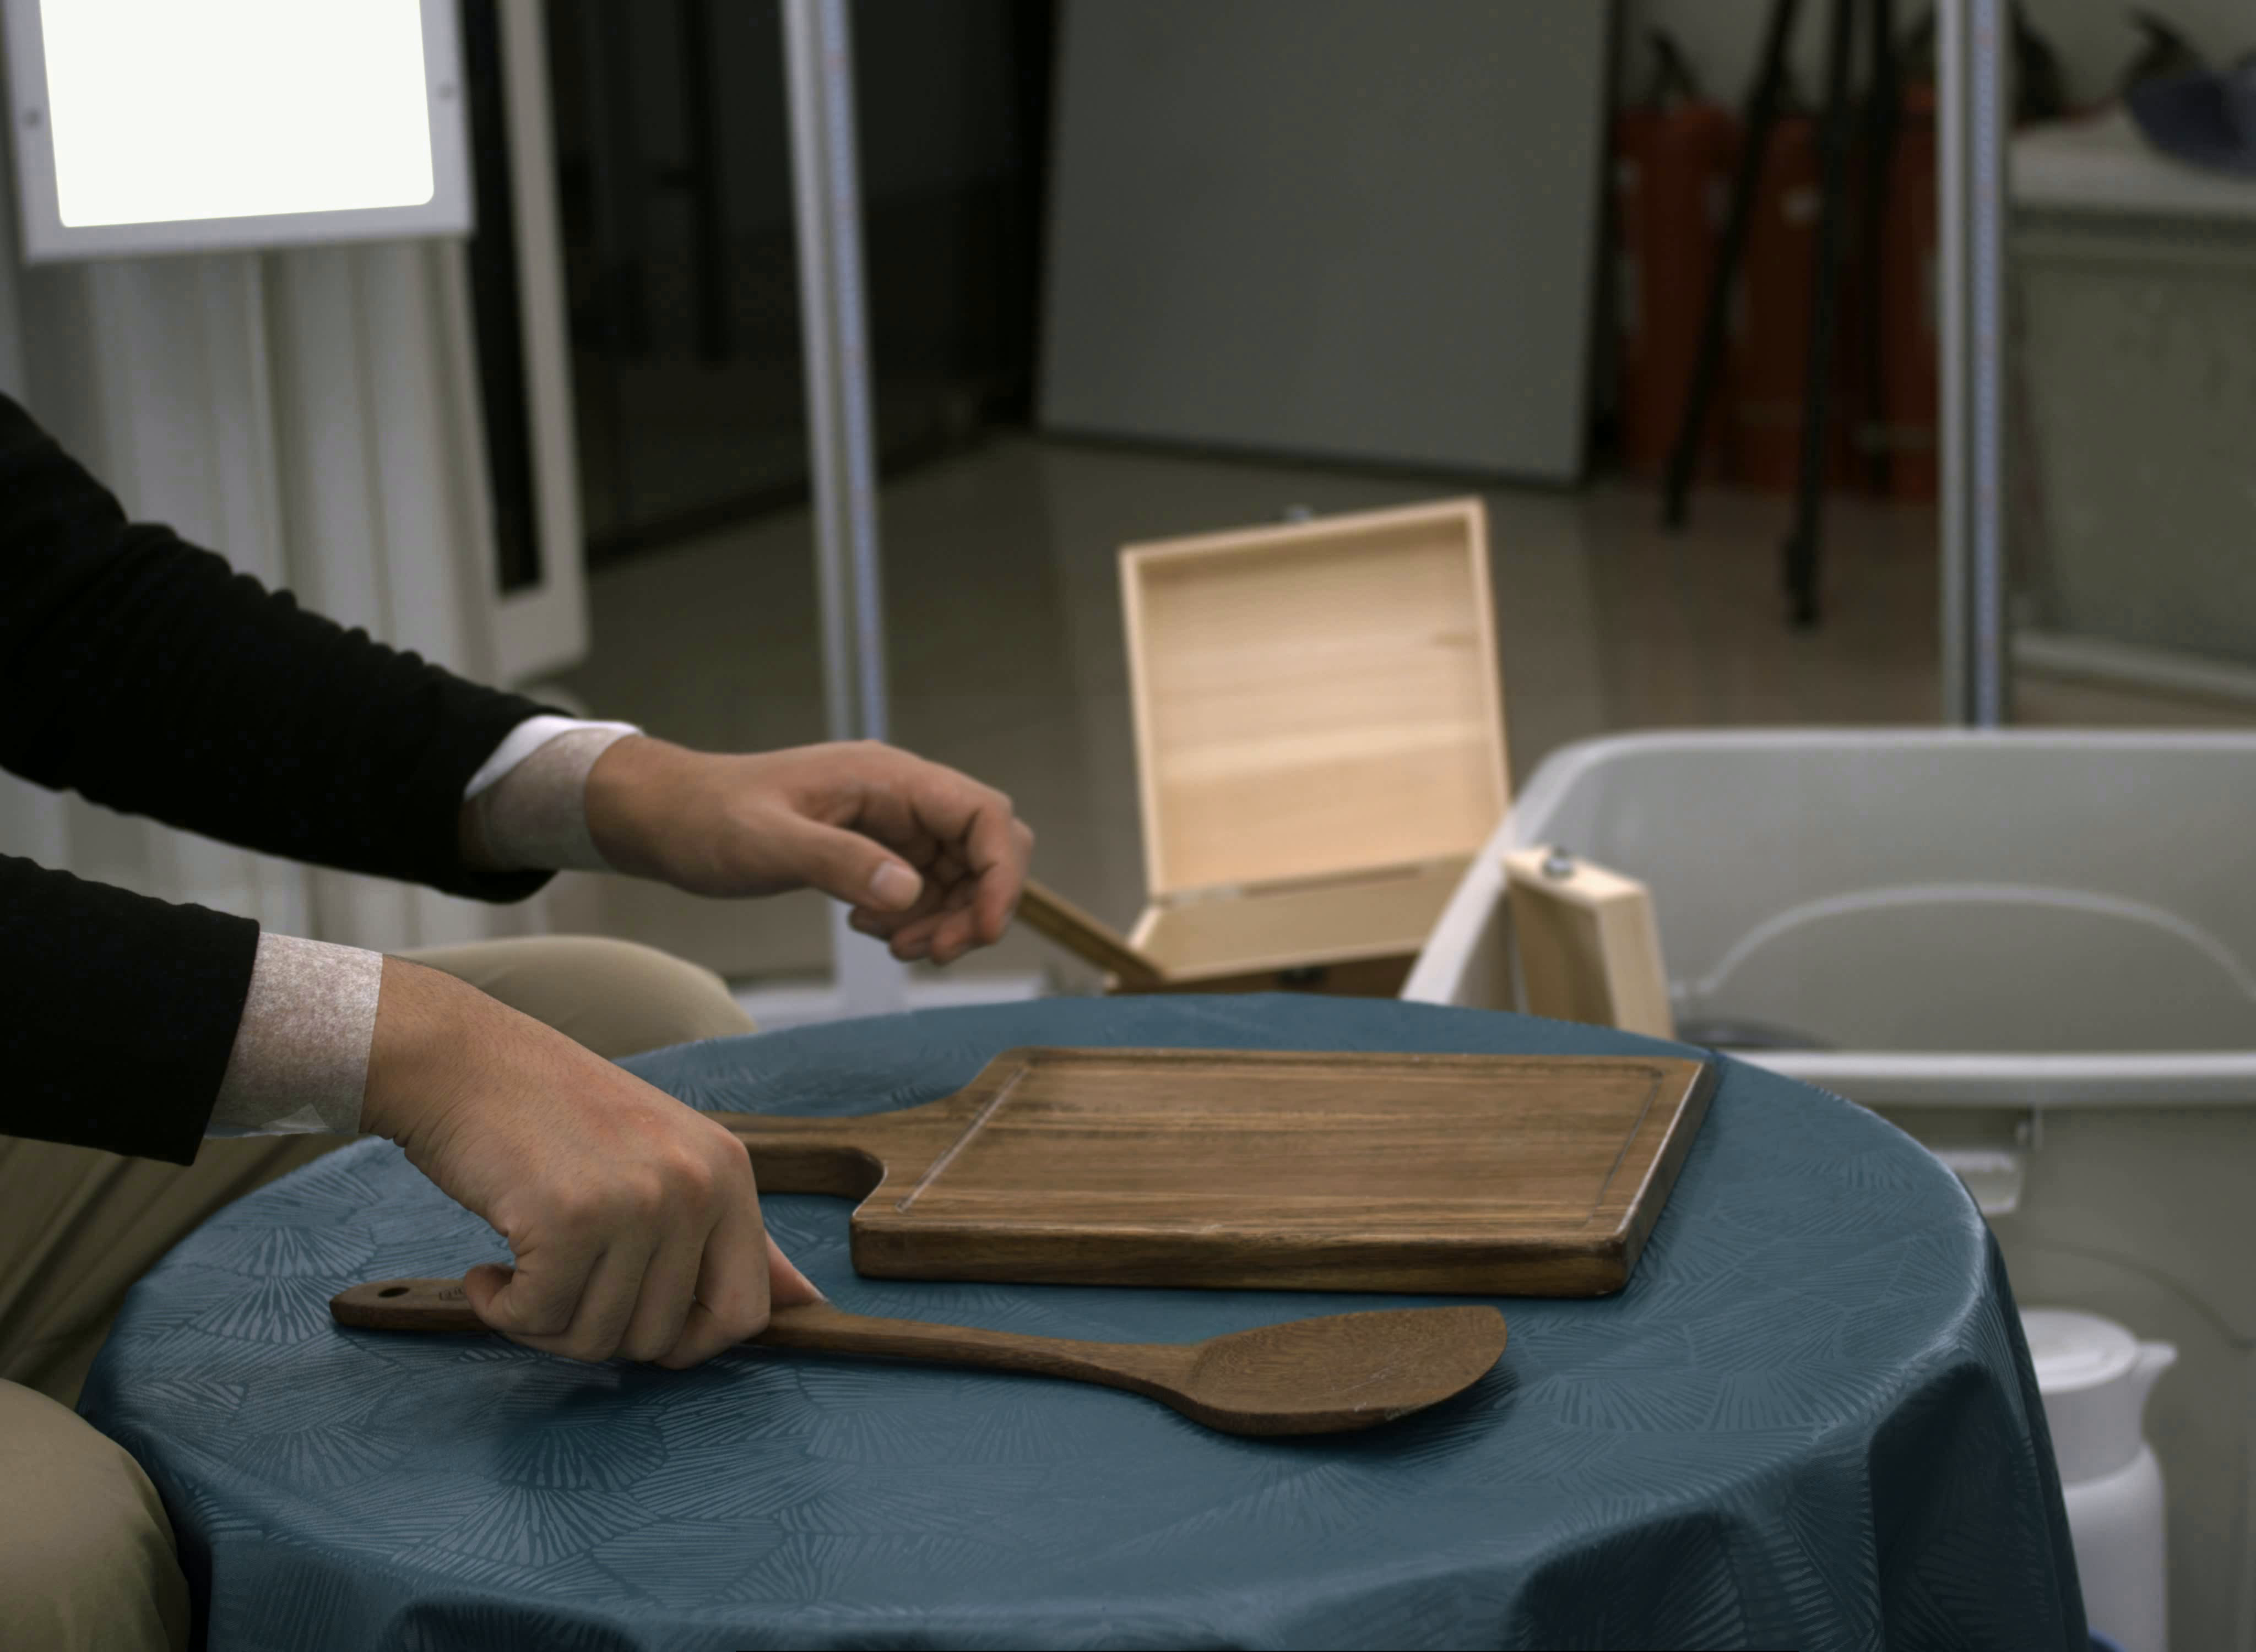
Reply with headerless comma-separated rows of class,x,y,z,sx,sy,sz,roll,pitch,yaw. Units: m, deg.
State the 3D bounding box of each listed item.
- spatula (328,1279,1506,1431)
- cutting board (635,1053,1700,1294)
spatula,-0.072,0.154,1.623,0.386,0.016,0.095,2,13,23
cutting board,0.006,0.111,1.768,0.350,0.023,0.199,0,14,15
